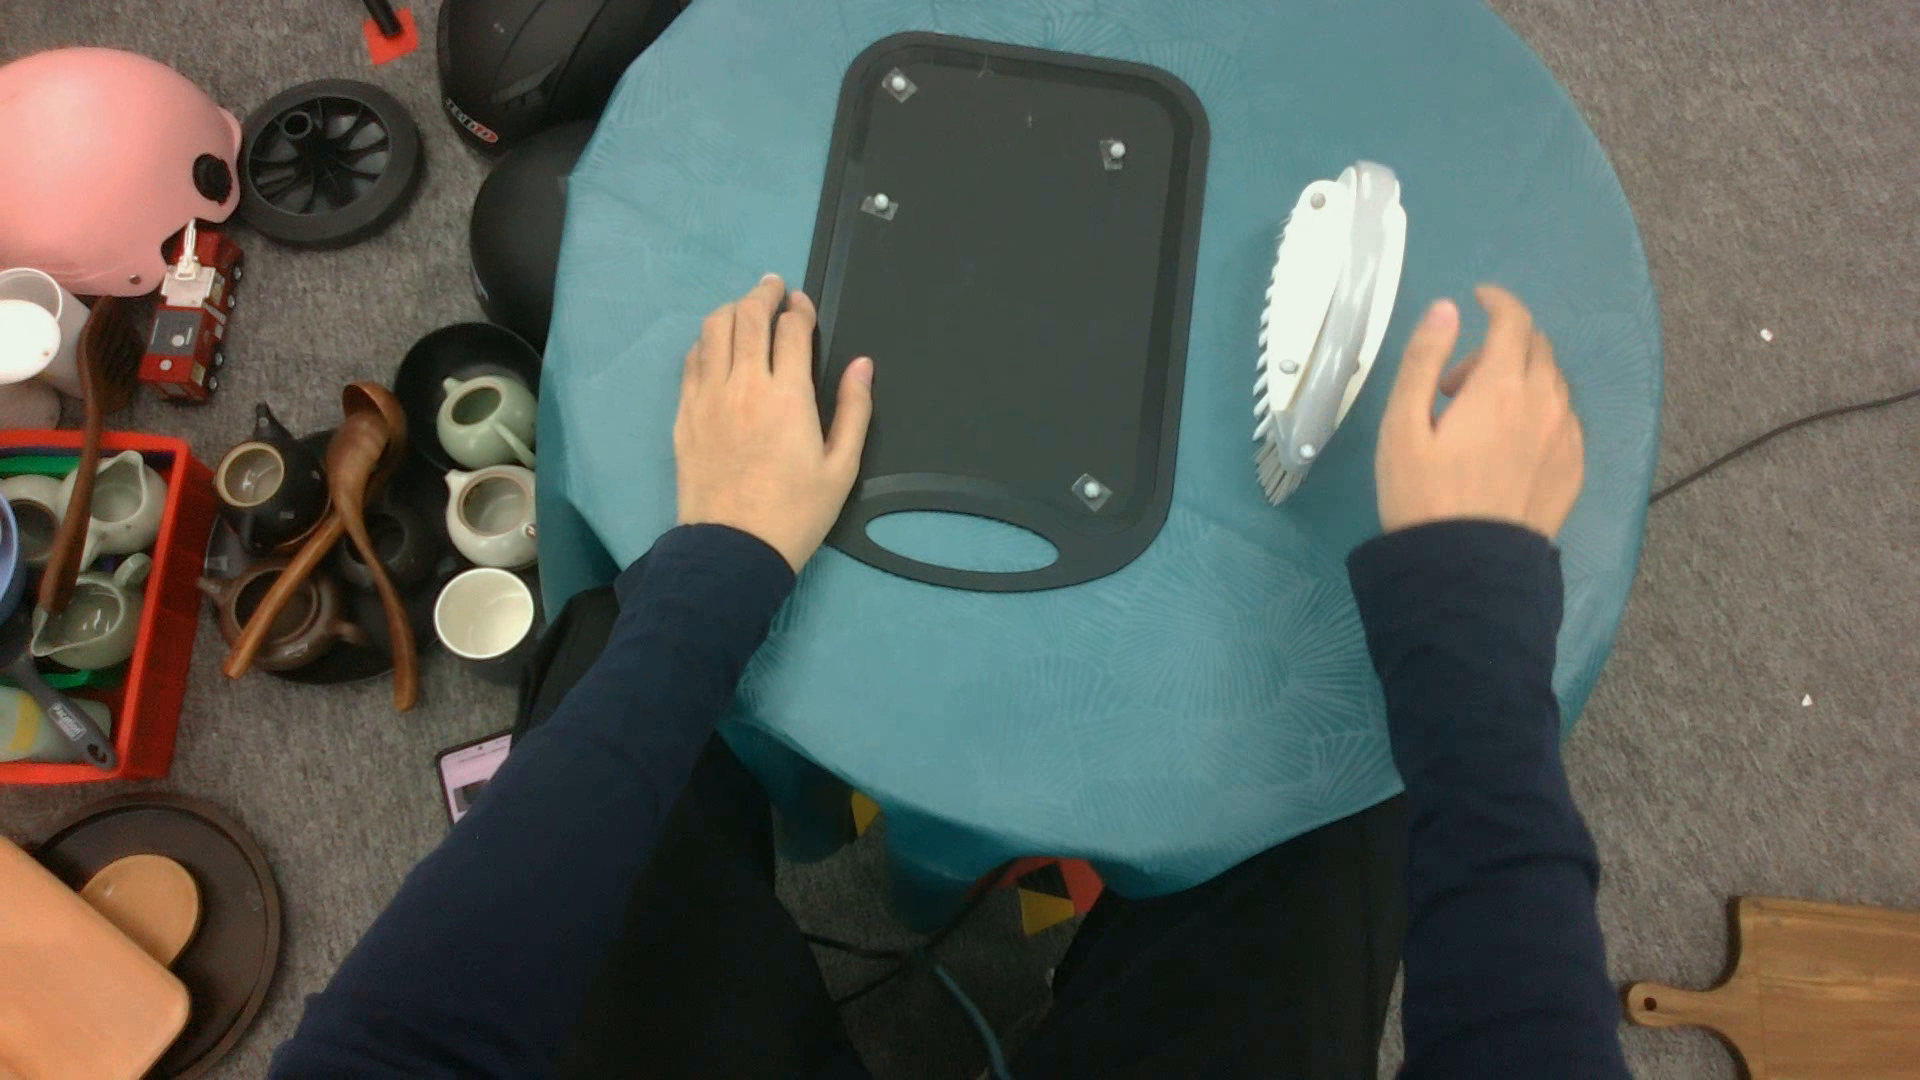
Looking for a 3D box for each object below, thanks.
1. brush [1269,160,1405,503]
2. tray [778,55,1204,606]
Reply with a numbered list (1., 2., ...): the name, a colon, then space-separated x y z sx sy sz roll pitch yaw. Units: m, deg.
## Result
1. brush: 0.191 -0.112 0.707 0.061 0.094 0.176 12 75 8
2. tray: 0.021 -0.122 0.752 0.211 0.010 0.326 7 72 1
